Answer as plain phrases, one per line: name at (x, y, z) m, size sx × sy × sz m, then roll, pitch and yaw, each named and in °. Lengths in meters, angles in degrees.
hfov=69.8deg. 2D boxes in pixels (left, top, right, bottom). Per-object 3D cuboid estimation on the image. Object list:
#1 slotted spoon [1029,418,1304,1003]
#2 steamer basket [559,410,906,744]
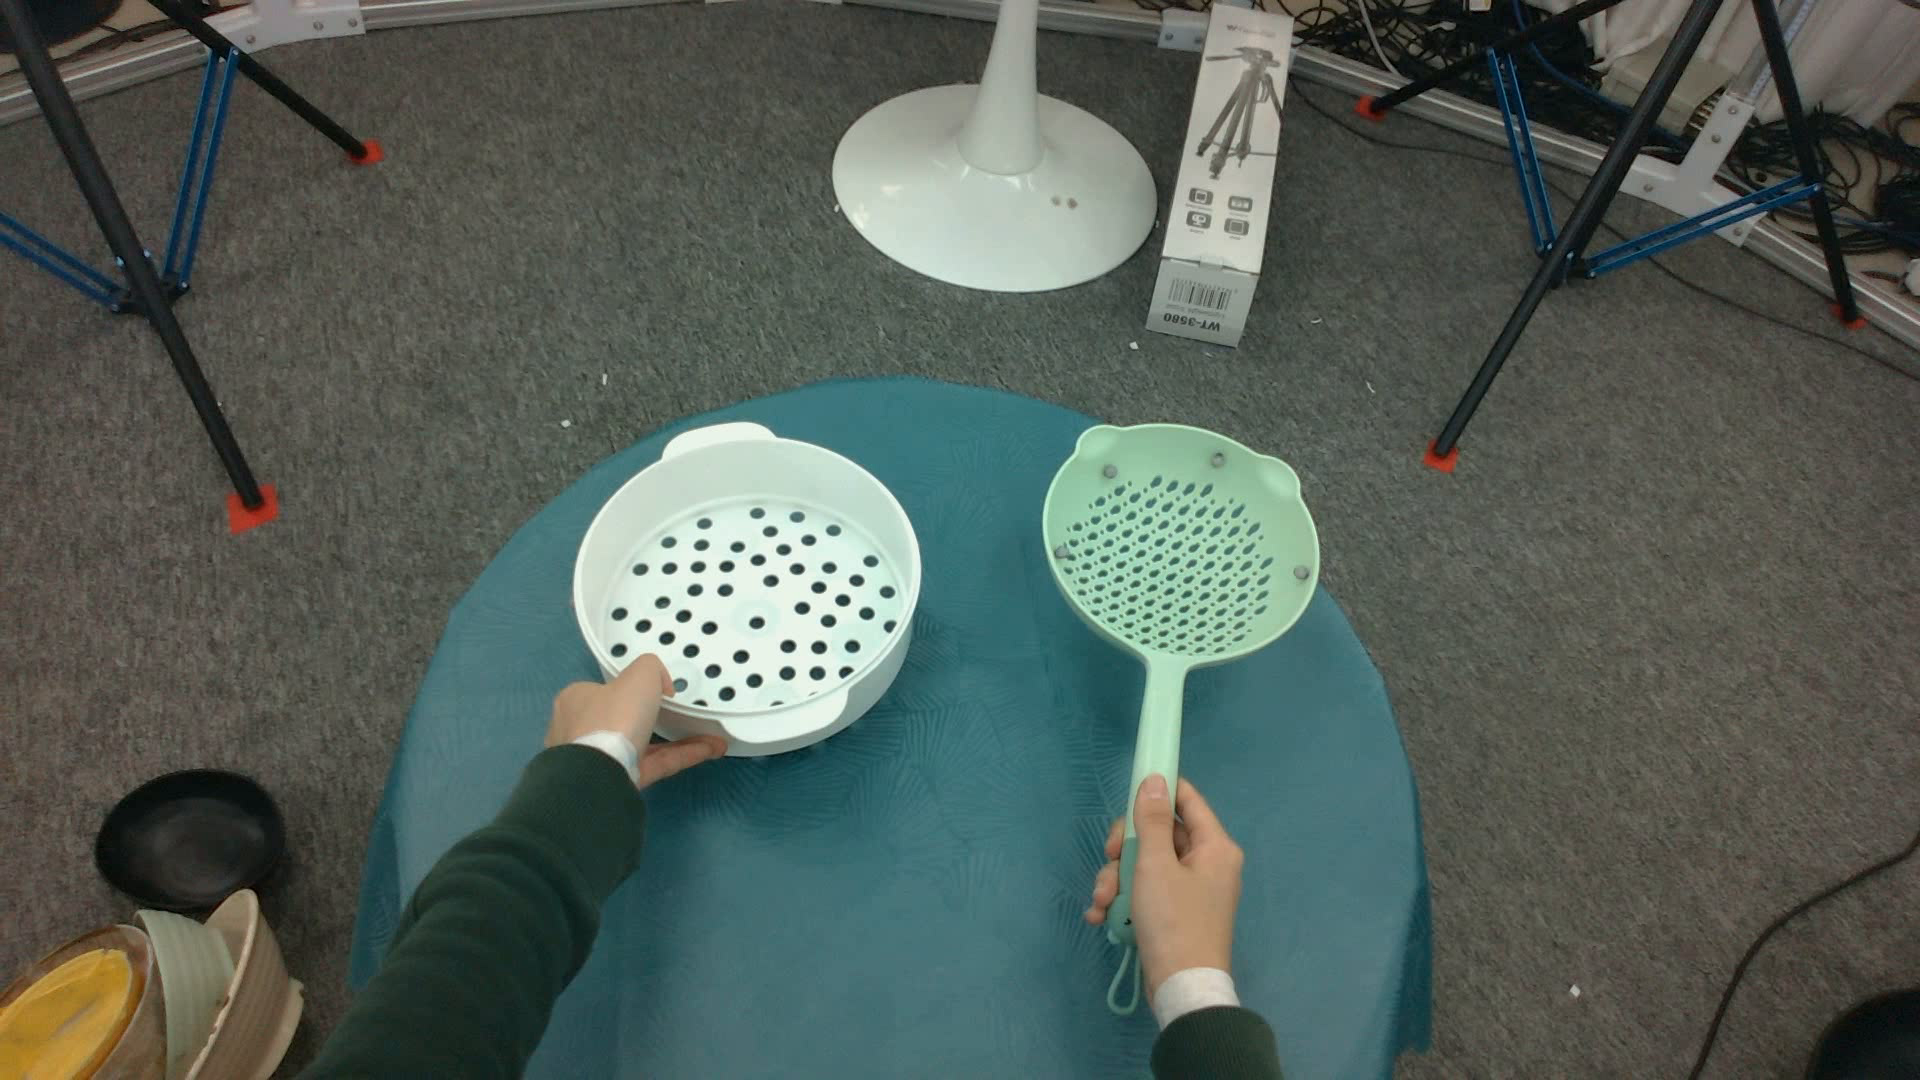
slotted spoon at (0.107, 0.078, 0.784) m, size 0.169 × 0.075 × 0.360 m, roll 11°, pitch 47°, yaw 1°
steamer basket at (-0.134, 0.026, 0.831) m, size 0.202 × 0.069 × 0.231 m, roll -13°, pitch 56°, yaw -13°
